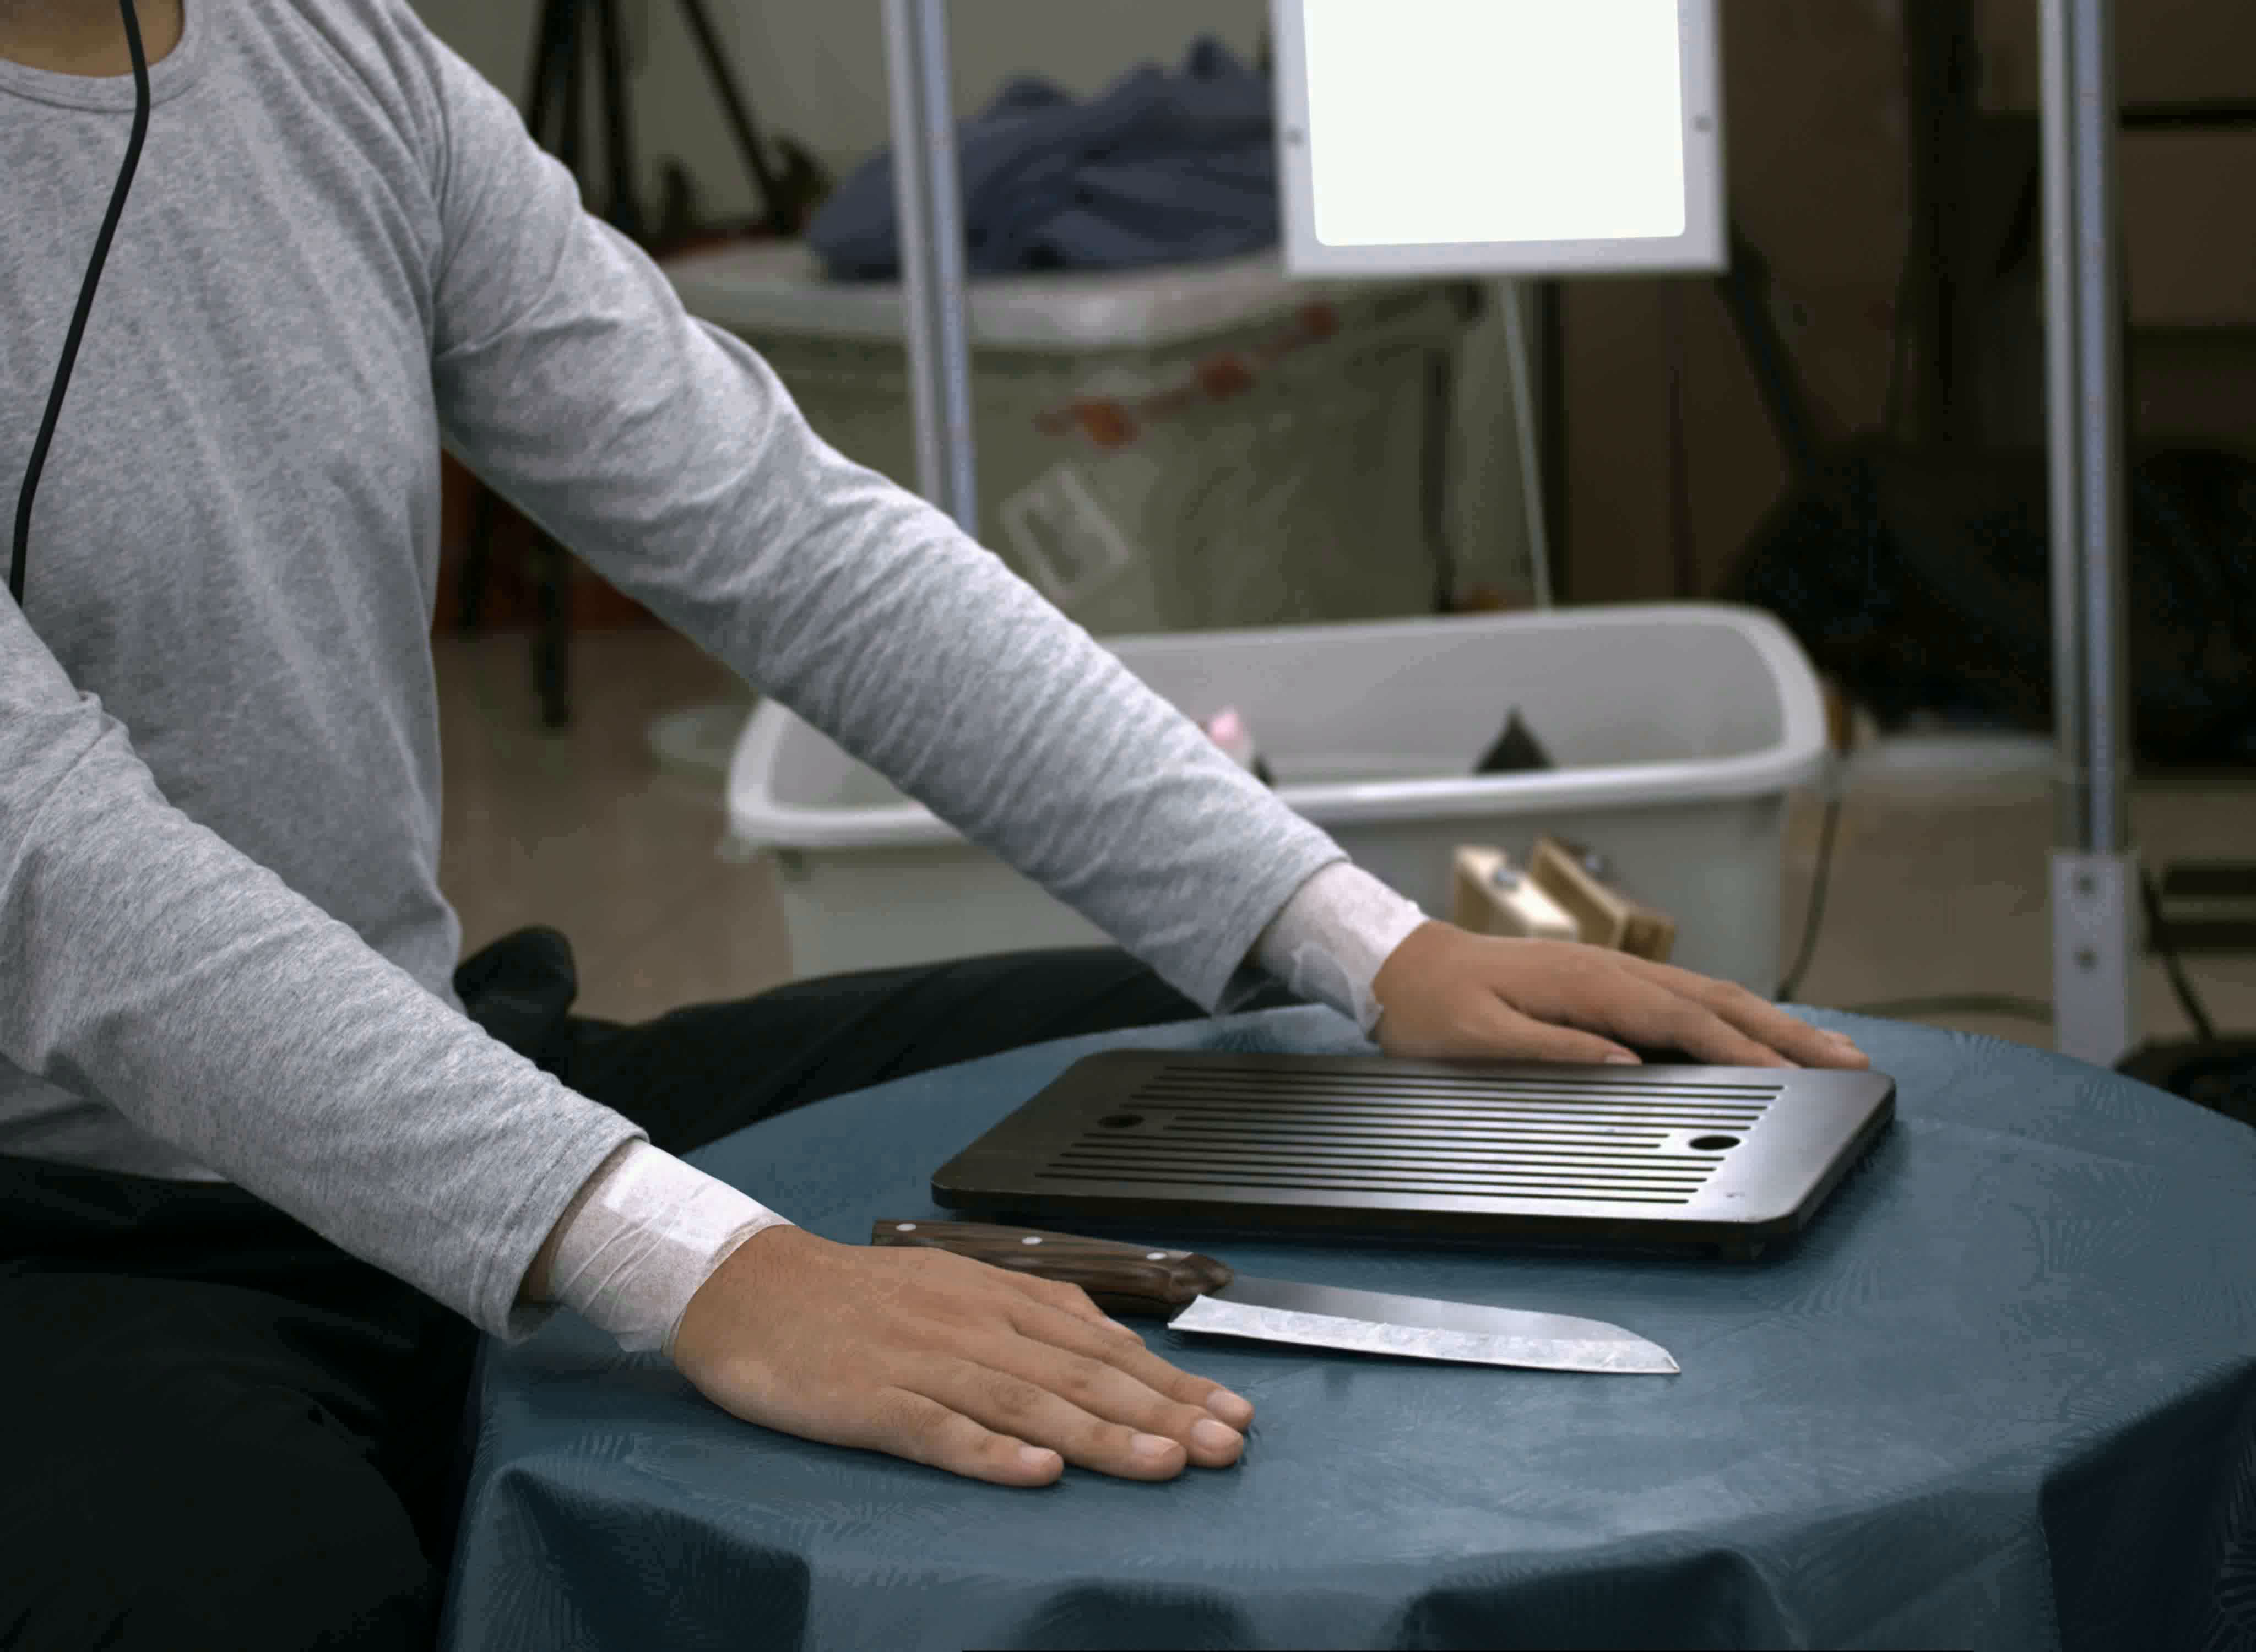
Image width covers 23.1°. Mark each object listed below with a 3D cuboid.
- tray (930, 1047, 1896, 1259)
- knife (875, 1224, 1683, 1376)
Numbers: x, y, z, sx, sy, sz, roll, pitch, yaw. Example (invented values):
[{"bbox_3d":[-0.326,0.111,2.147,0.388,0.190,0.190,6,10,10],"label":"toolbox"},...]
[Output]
[{"bbox_3d":[0.100,0.111,1.893,0.310,0.019,0.167,0,15,24],"label":"tray"},{"bbox_3d":[0.043,0.153,1.749,0.294,0.020,0.049,5,22,29],"label":"knife"}]
